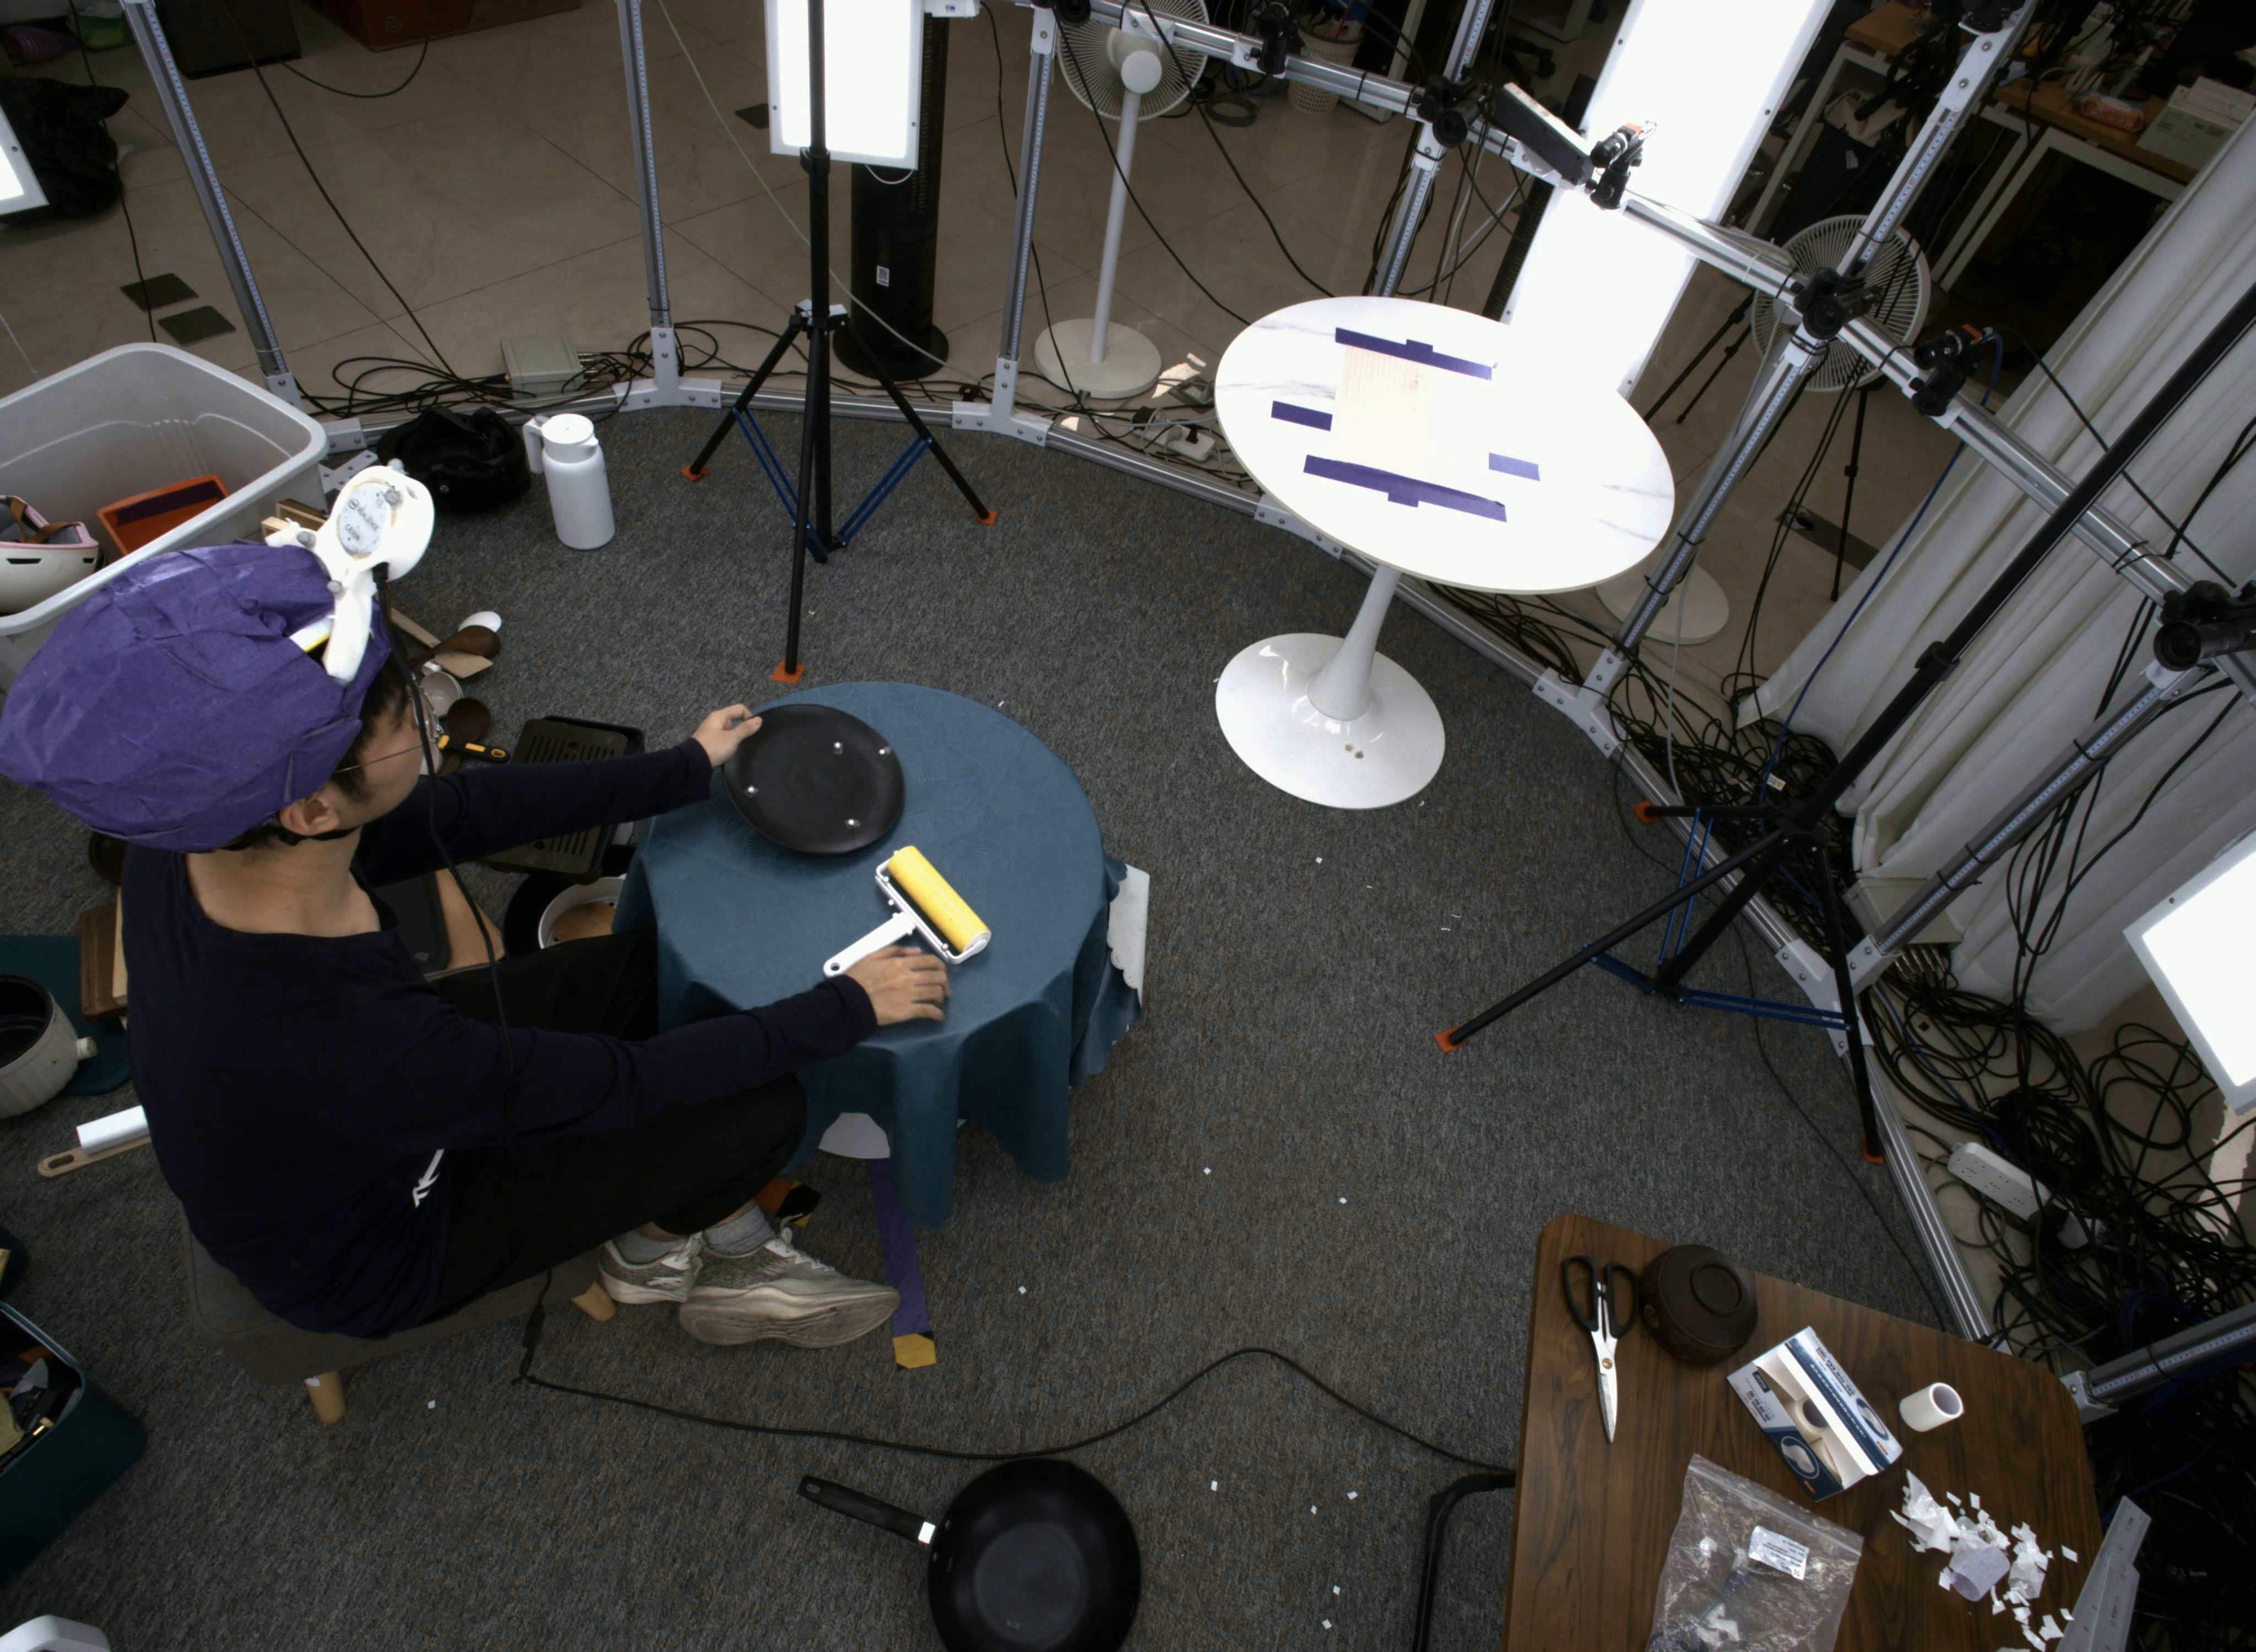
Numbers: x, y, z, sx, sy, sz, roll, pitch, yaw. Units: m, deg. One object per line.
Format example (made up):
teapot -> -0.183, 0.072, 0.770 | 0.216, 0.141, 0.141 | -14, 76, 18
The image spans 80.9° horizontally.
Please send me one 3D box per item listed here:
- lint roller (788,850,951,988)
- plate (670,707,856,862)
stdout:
lint roller -> -0.346, 0.132, 1.626 | 0.170, 0.052, 0.192 | 41, 52, 18
plate -> -0.483, -0.053, 1.719 | 0.247, 0.023, 0.240 | 15, 54, -19
